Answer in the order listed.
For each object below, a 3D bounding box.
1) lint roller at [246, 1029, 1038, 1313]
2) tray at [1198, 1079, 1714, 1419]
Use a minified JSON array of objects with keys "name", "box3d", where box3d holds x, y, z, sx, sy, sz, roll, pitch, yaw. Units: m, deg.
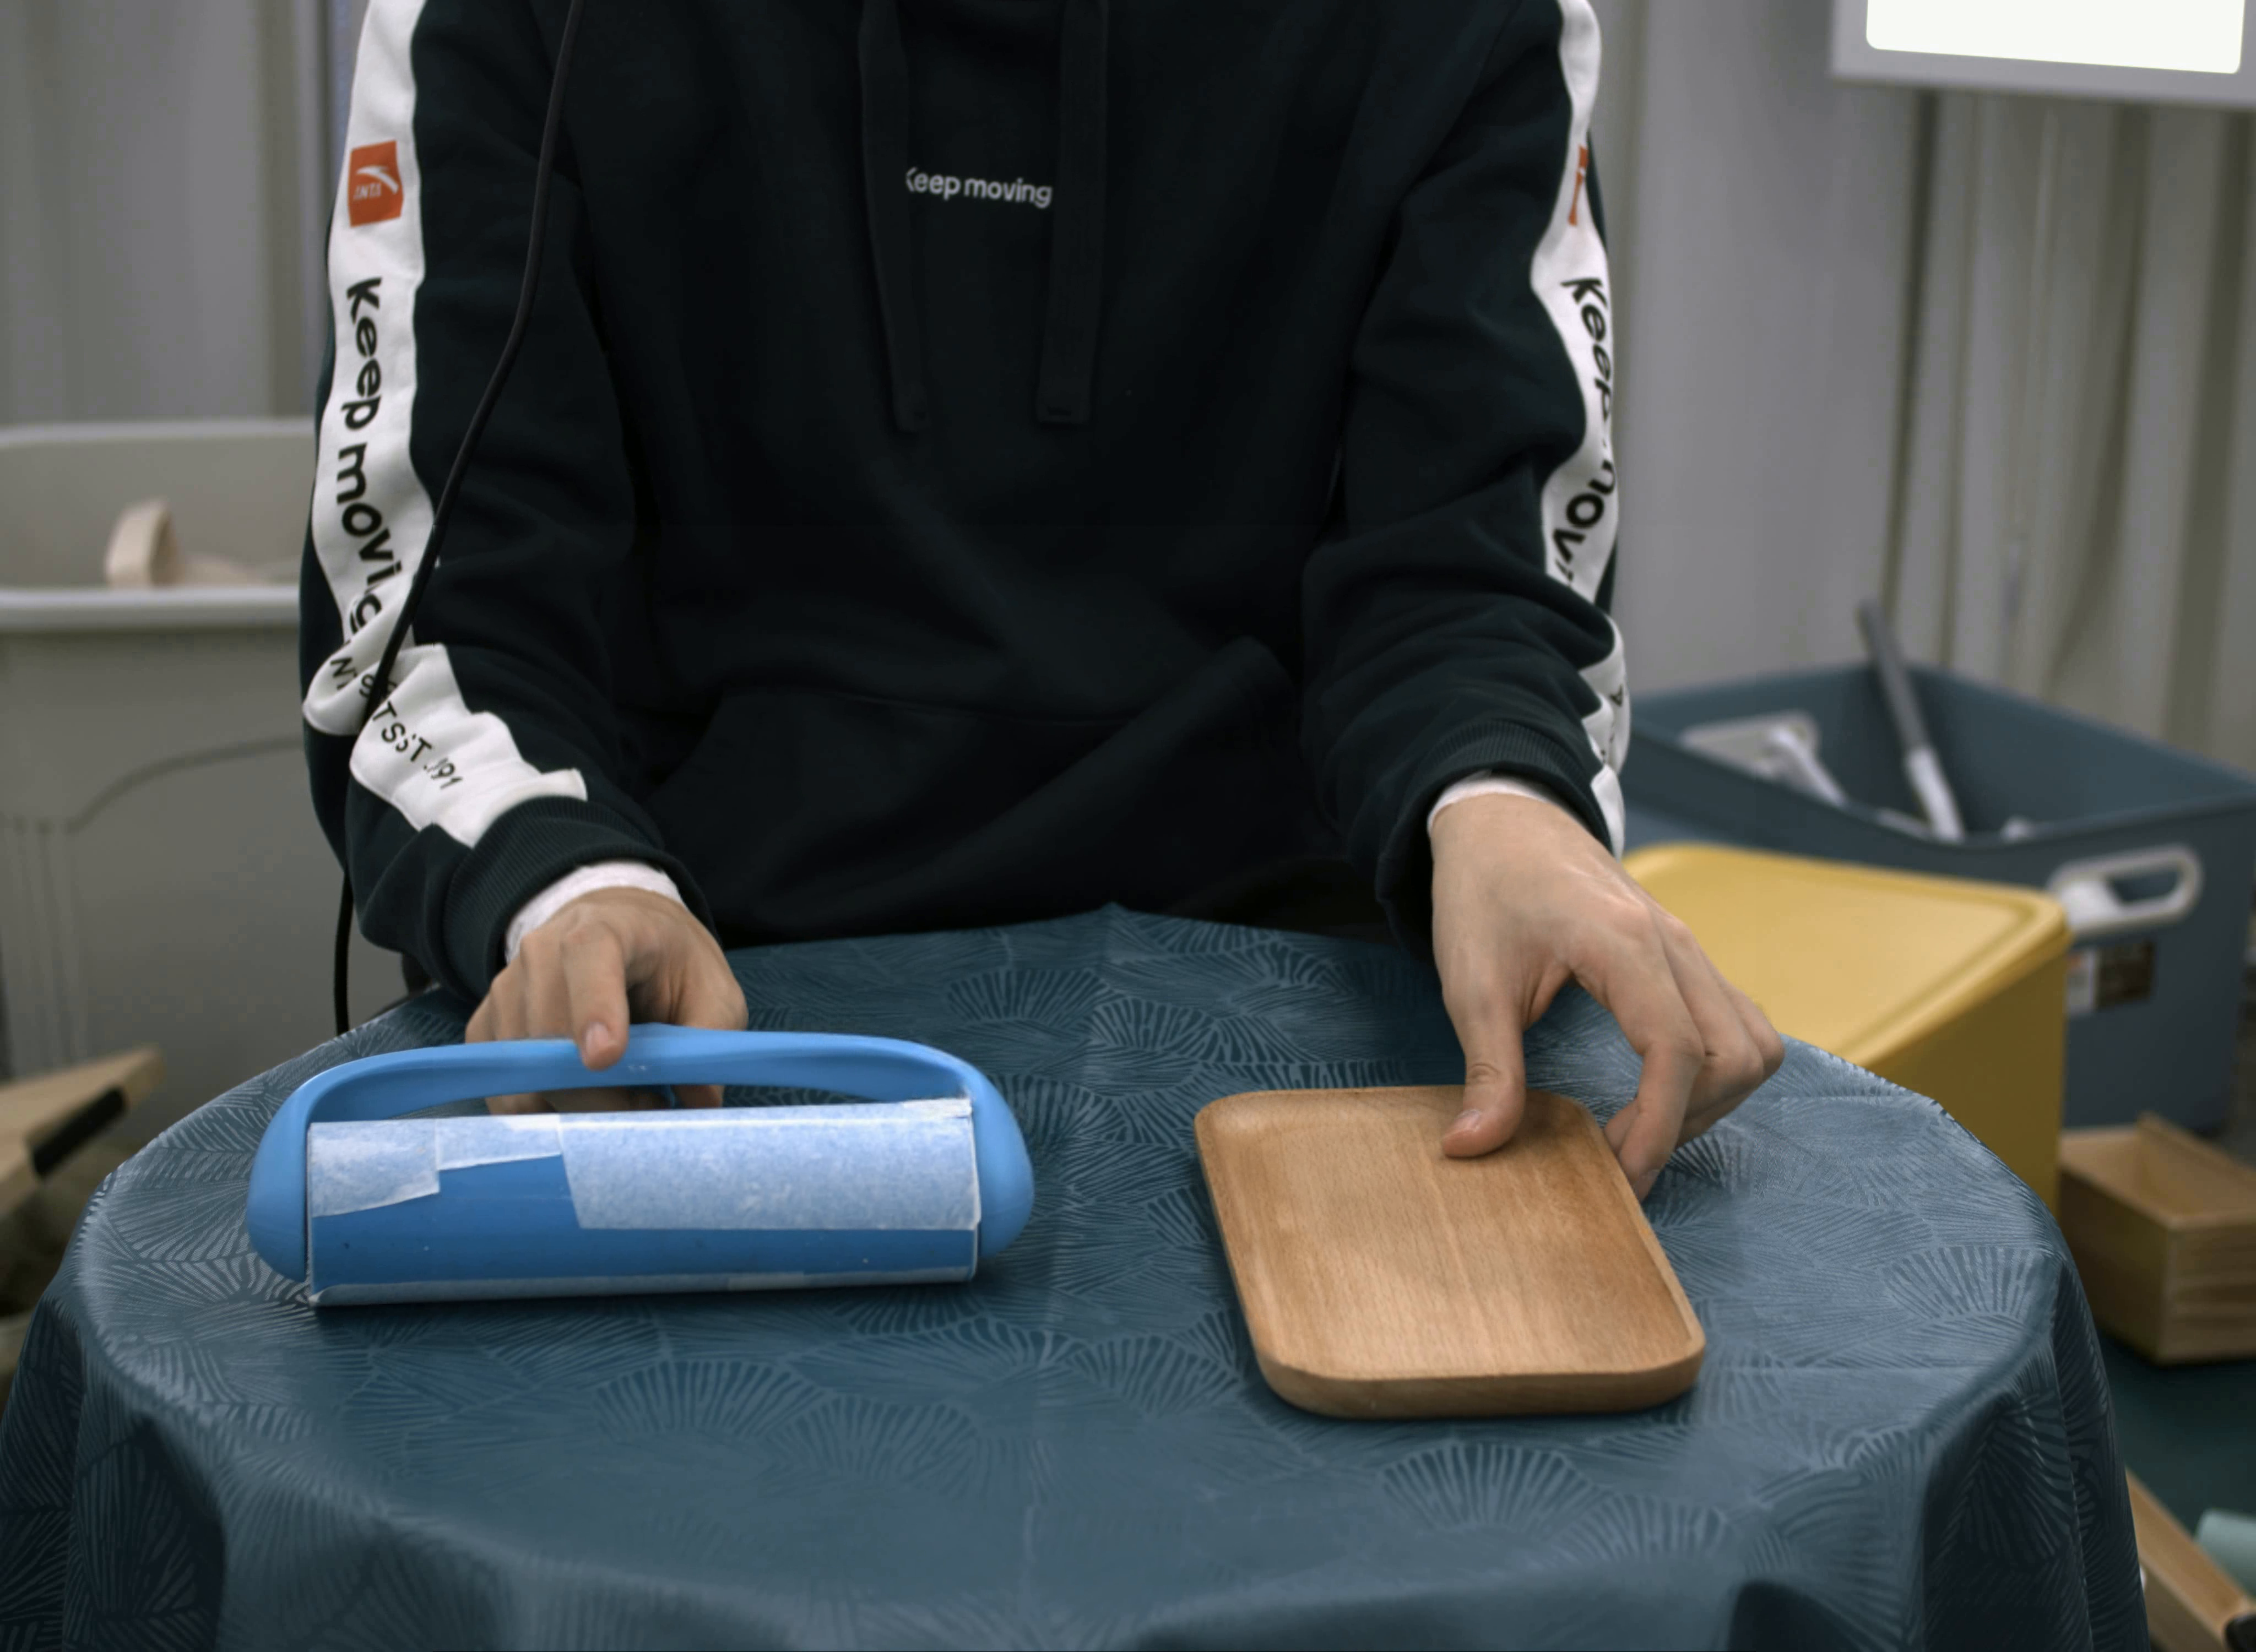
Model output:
[{"name":"lint roller","box3d":[-0.149,0.091,1.581,0.229,0.068,0.178,-4,17,-9]},{"name":"tray","box3d":[0.092,0.122,1.555,0.130,0.023,0.249,1,15,-4]}]
